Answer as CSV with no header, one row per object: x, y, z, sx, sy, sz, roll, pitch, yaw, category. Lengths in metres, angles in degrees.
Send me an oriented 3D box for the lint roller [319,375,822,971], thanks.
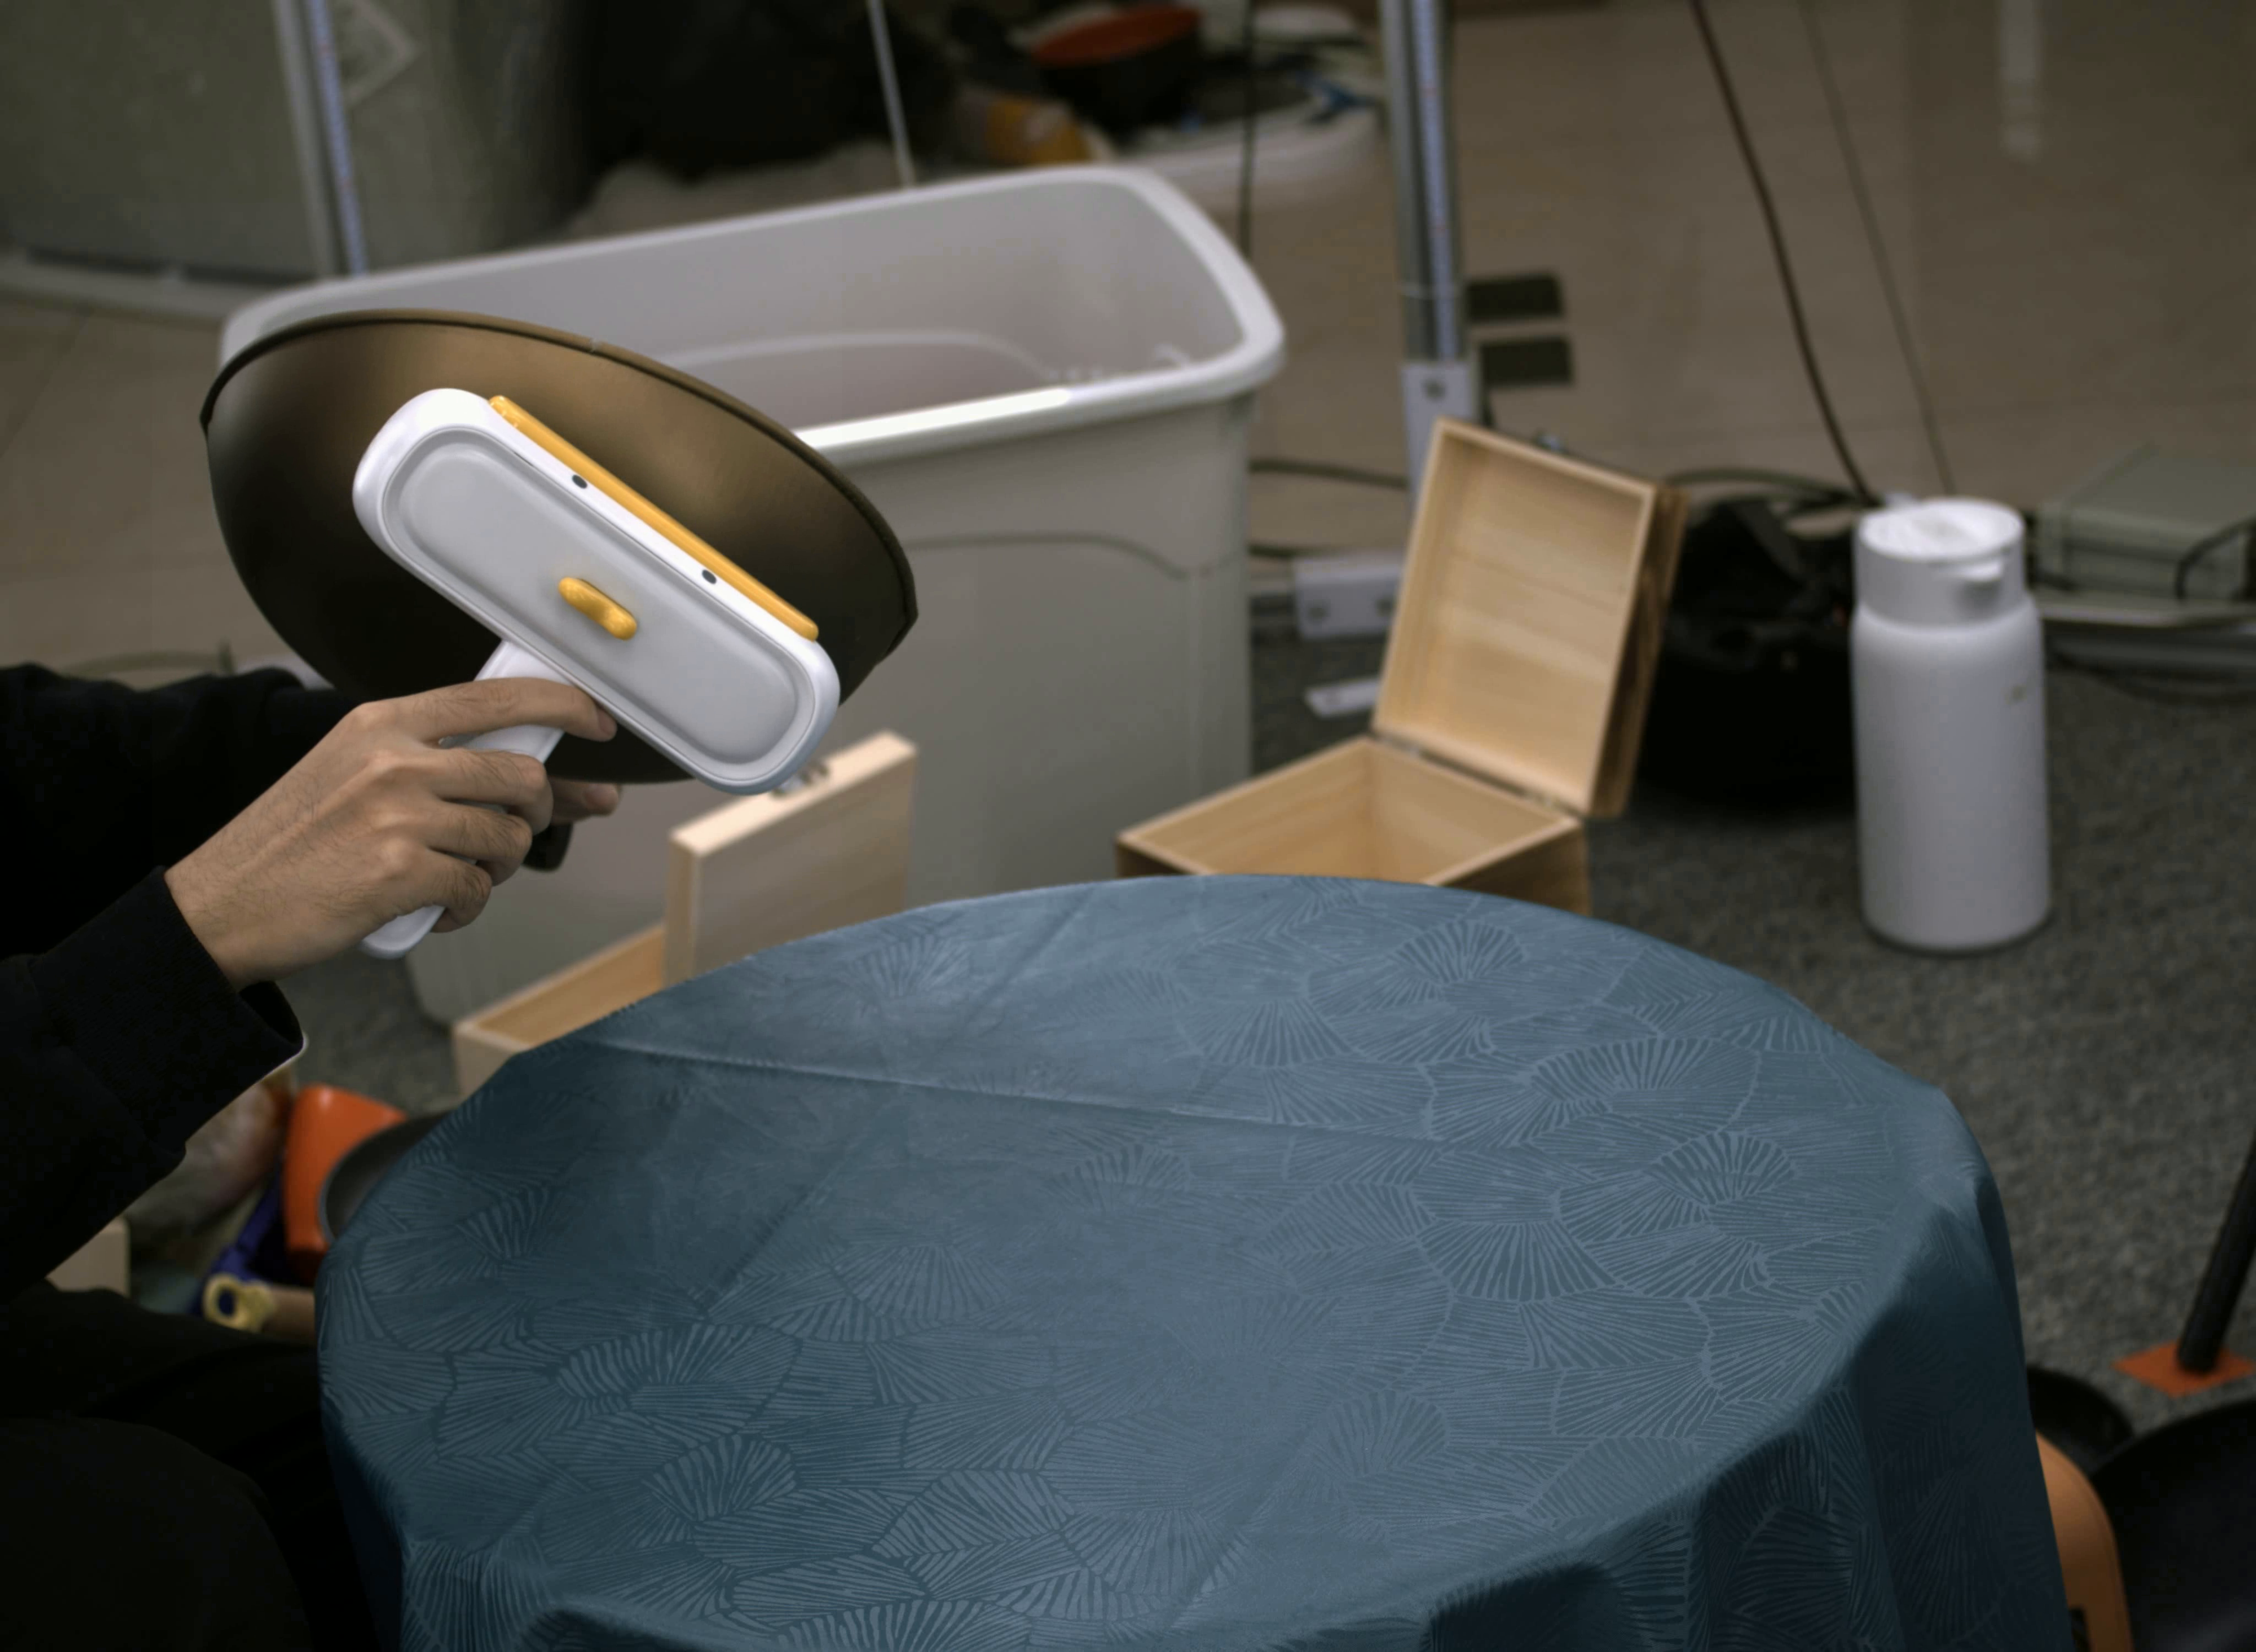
-0.226,-0.037,2.012,0.194,0.192,0.074,32,-1,-18,lint roller

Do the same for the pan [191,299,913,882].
-0.240,-0.053,2.249,0.288,0.470,0.086,15,65,-1,pan
